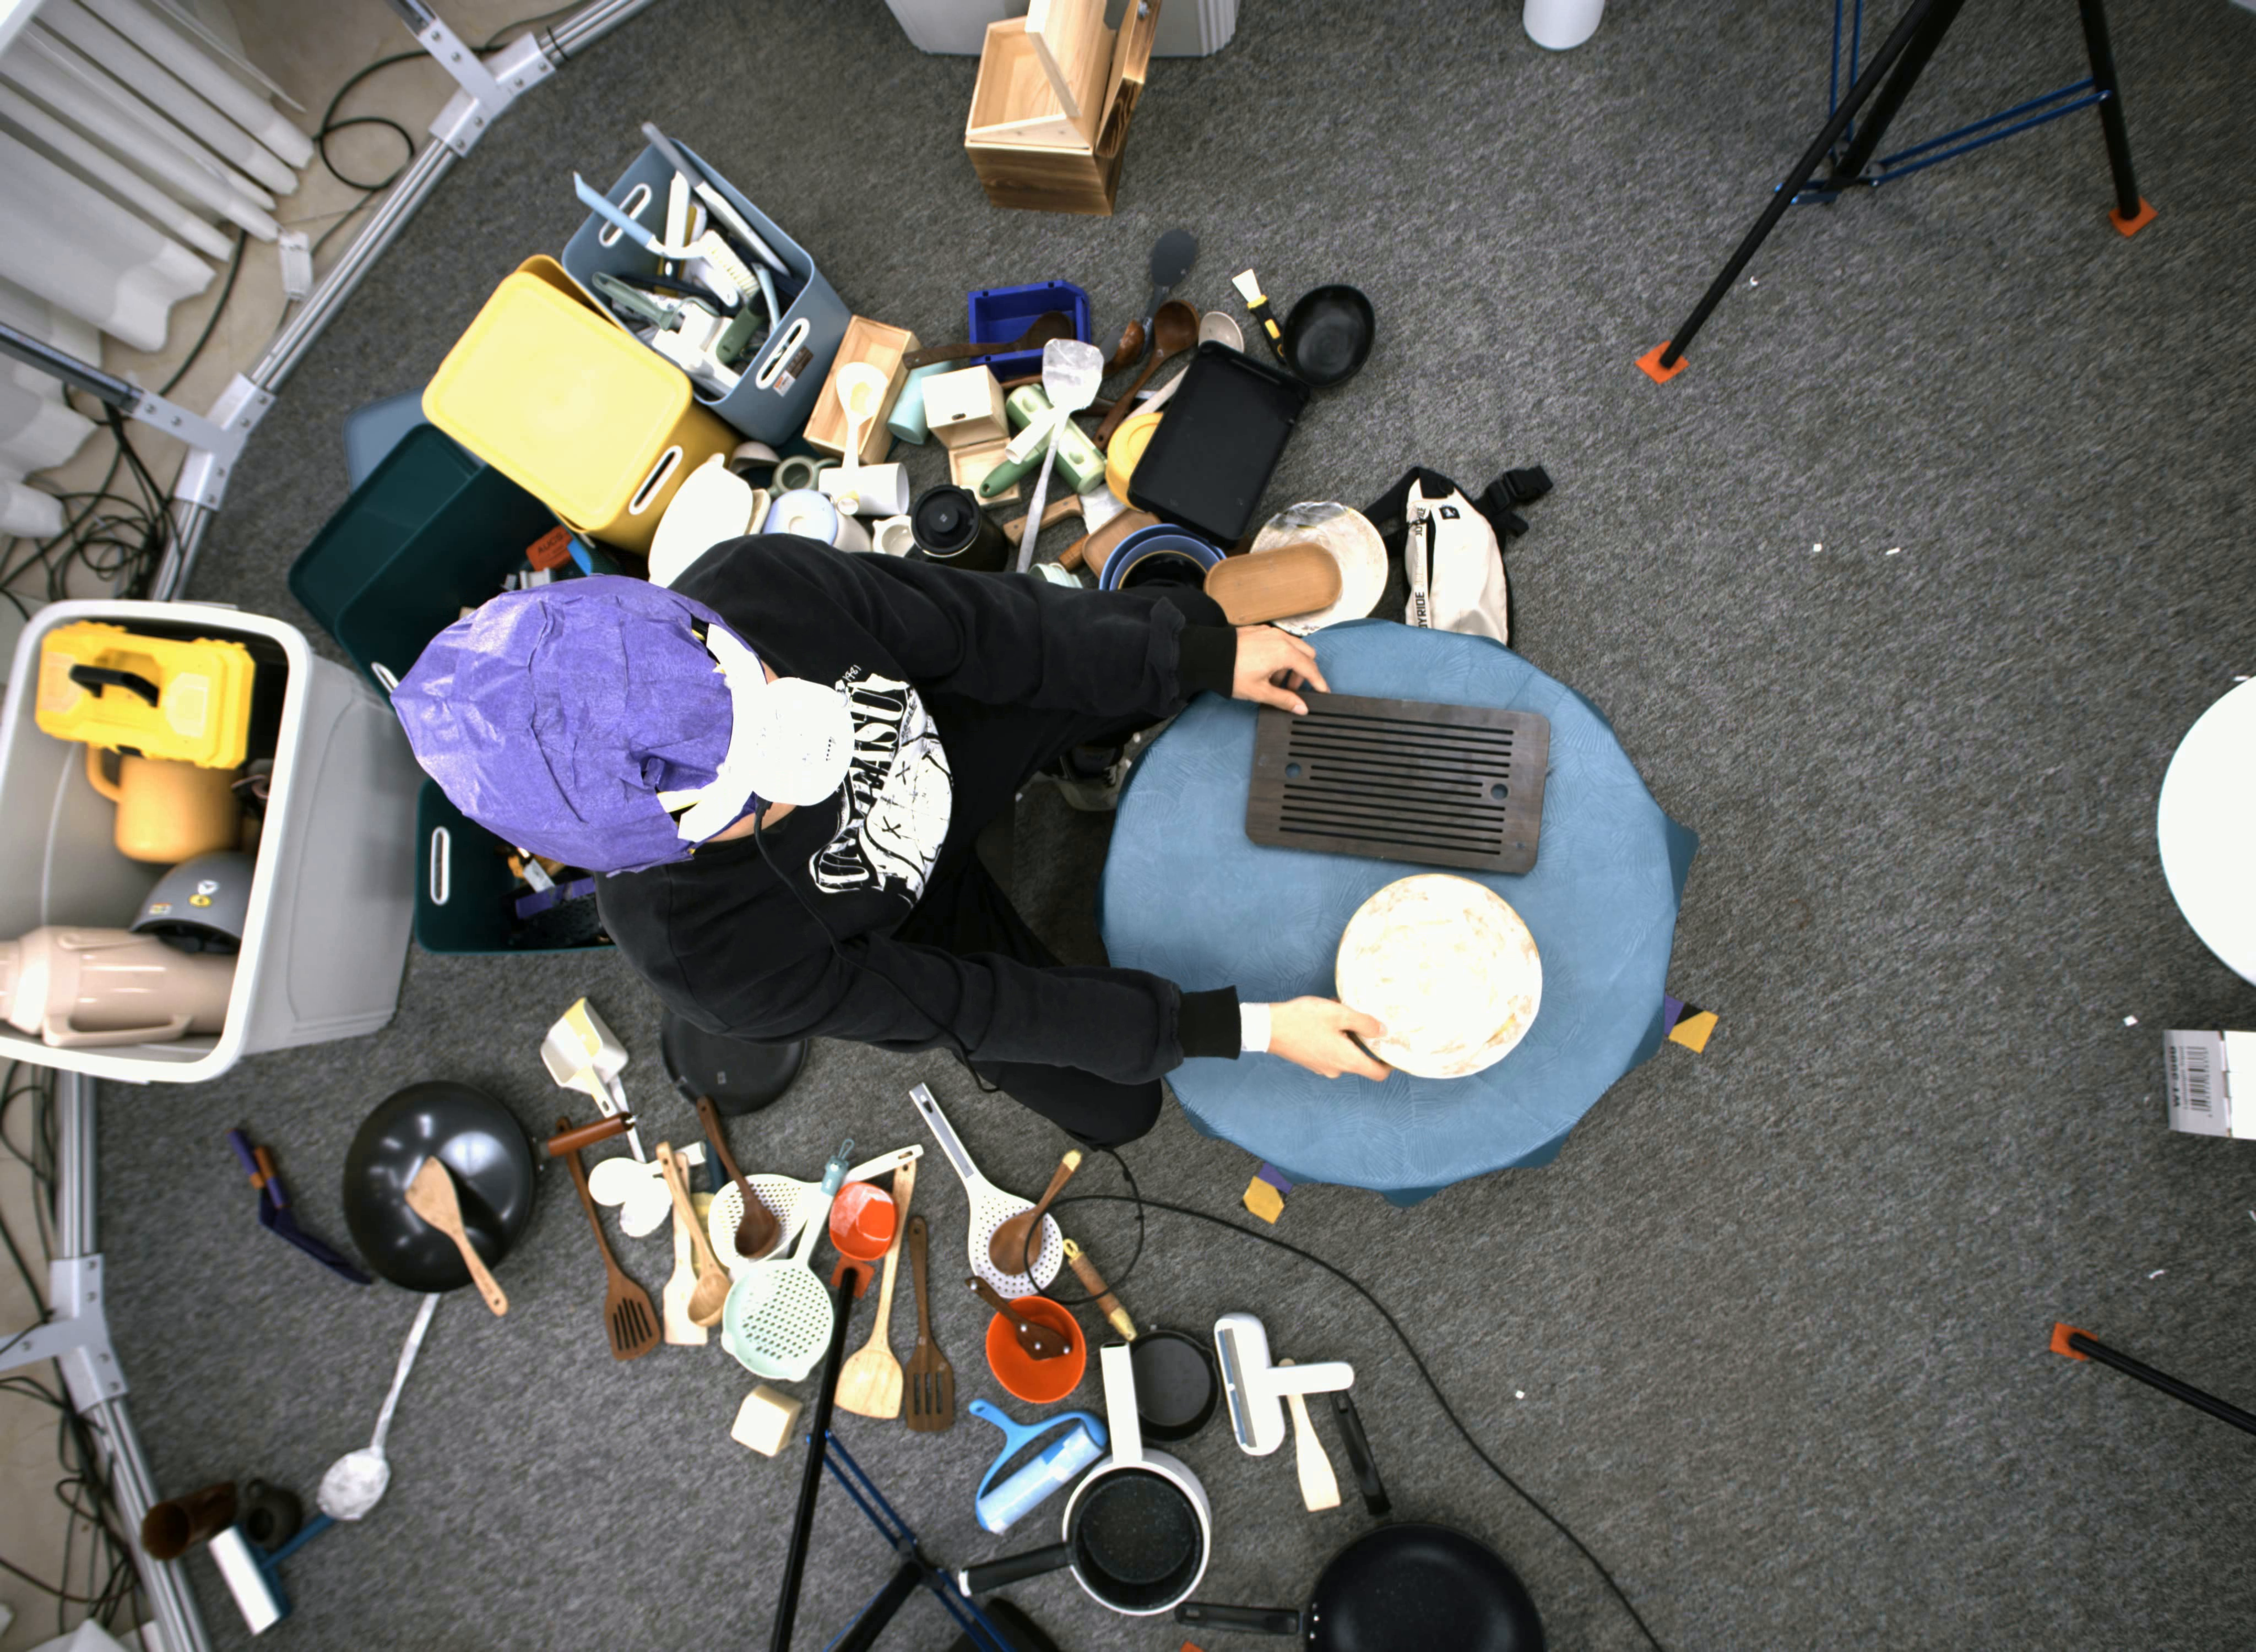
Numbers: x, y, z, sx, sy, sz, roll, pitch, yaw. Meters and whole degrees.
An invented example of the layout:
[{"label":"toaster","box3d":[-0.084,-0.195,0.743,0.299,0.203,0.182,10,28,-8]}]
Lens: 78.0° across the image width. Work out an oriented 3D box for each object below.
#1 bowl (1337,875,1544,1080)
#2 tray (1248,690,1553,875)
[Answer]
[{"label":"bowl","box3d":[0.314,0.149,1.405,0.215,0.094,0.213,-1,85,11]},{"label":"tray","box3d":[0.287,-0.049,1.460,0.307,0.018,0.169,6,88,11]}]
